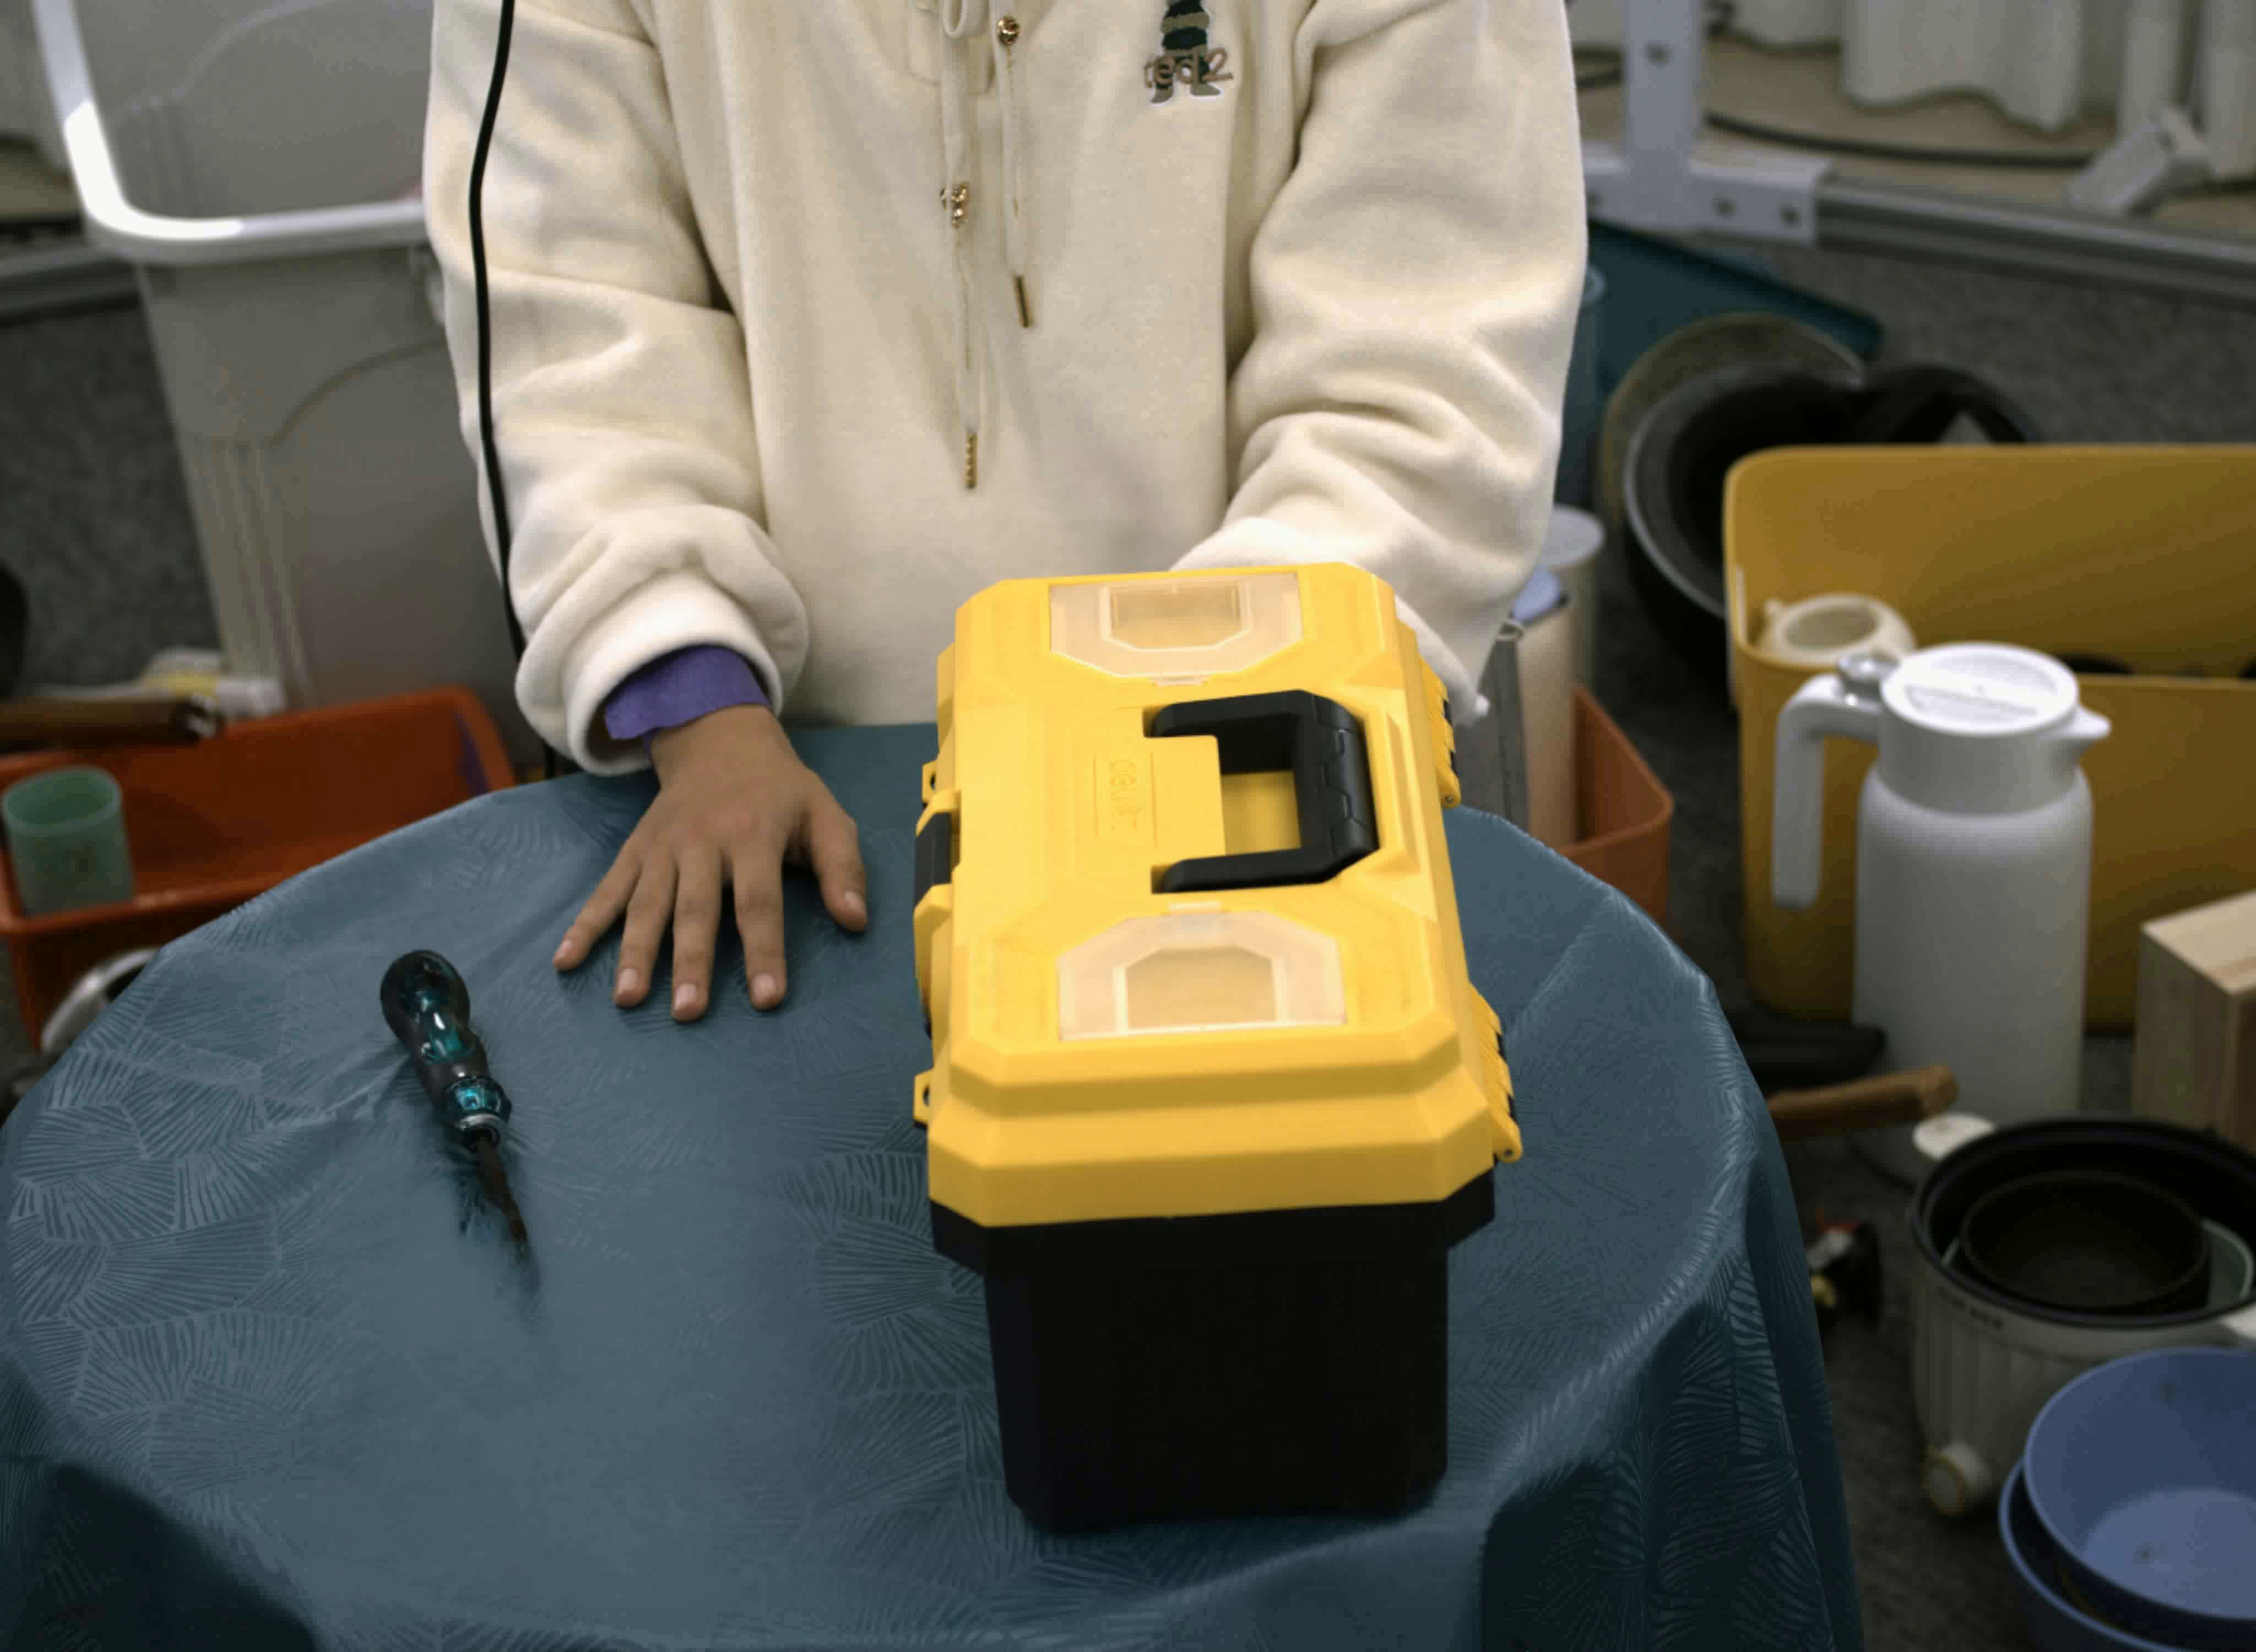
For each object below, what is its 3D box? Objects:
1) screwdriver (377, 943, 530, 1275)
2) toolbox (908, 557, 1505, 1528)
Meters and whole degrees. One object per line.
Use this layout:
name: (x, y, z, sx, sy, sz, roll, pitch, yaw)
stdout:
screwdriver: (-0.225, 0.098, 1.905, 0.034, 0.033, 0.192, -10, 33, -14)
toolbox: (0.023, 0.062, 1.788, 0.180, 0.171, 0.357, -3, 27, 1)
